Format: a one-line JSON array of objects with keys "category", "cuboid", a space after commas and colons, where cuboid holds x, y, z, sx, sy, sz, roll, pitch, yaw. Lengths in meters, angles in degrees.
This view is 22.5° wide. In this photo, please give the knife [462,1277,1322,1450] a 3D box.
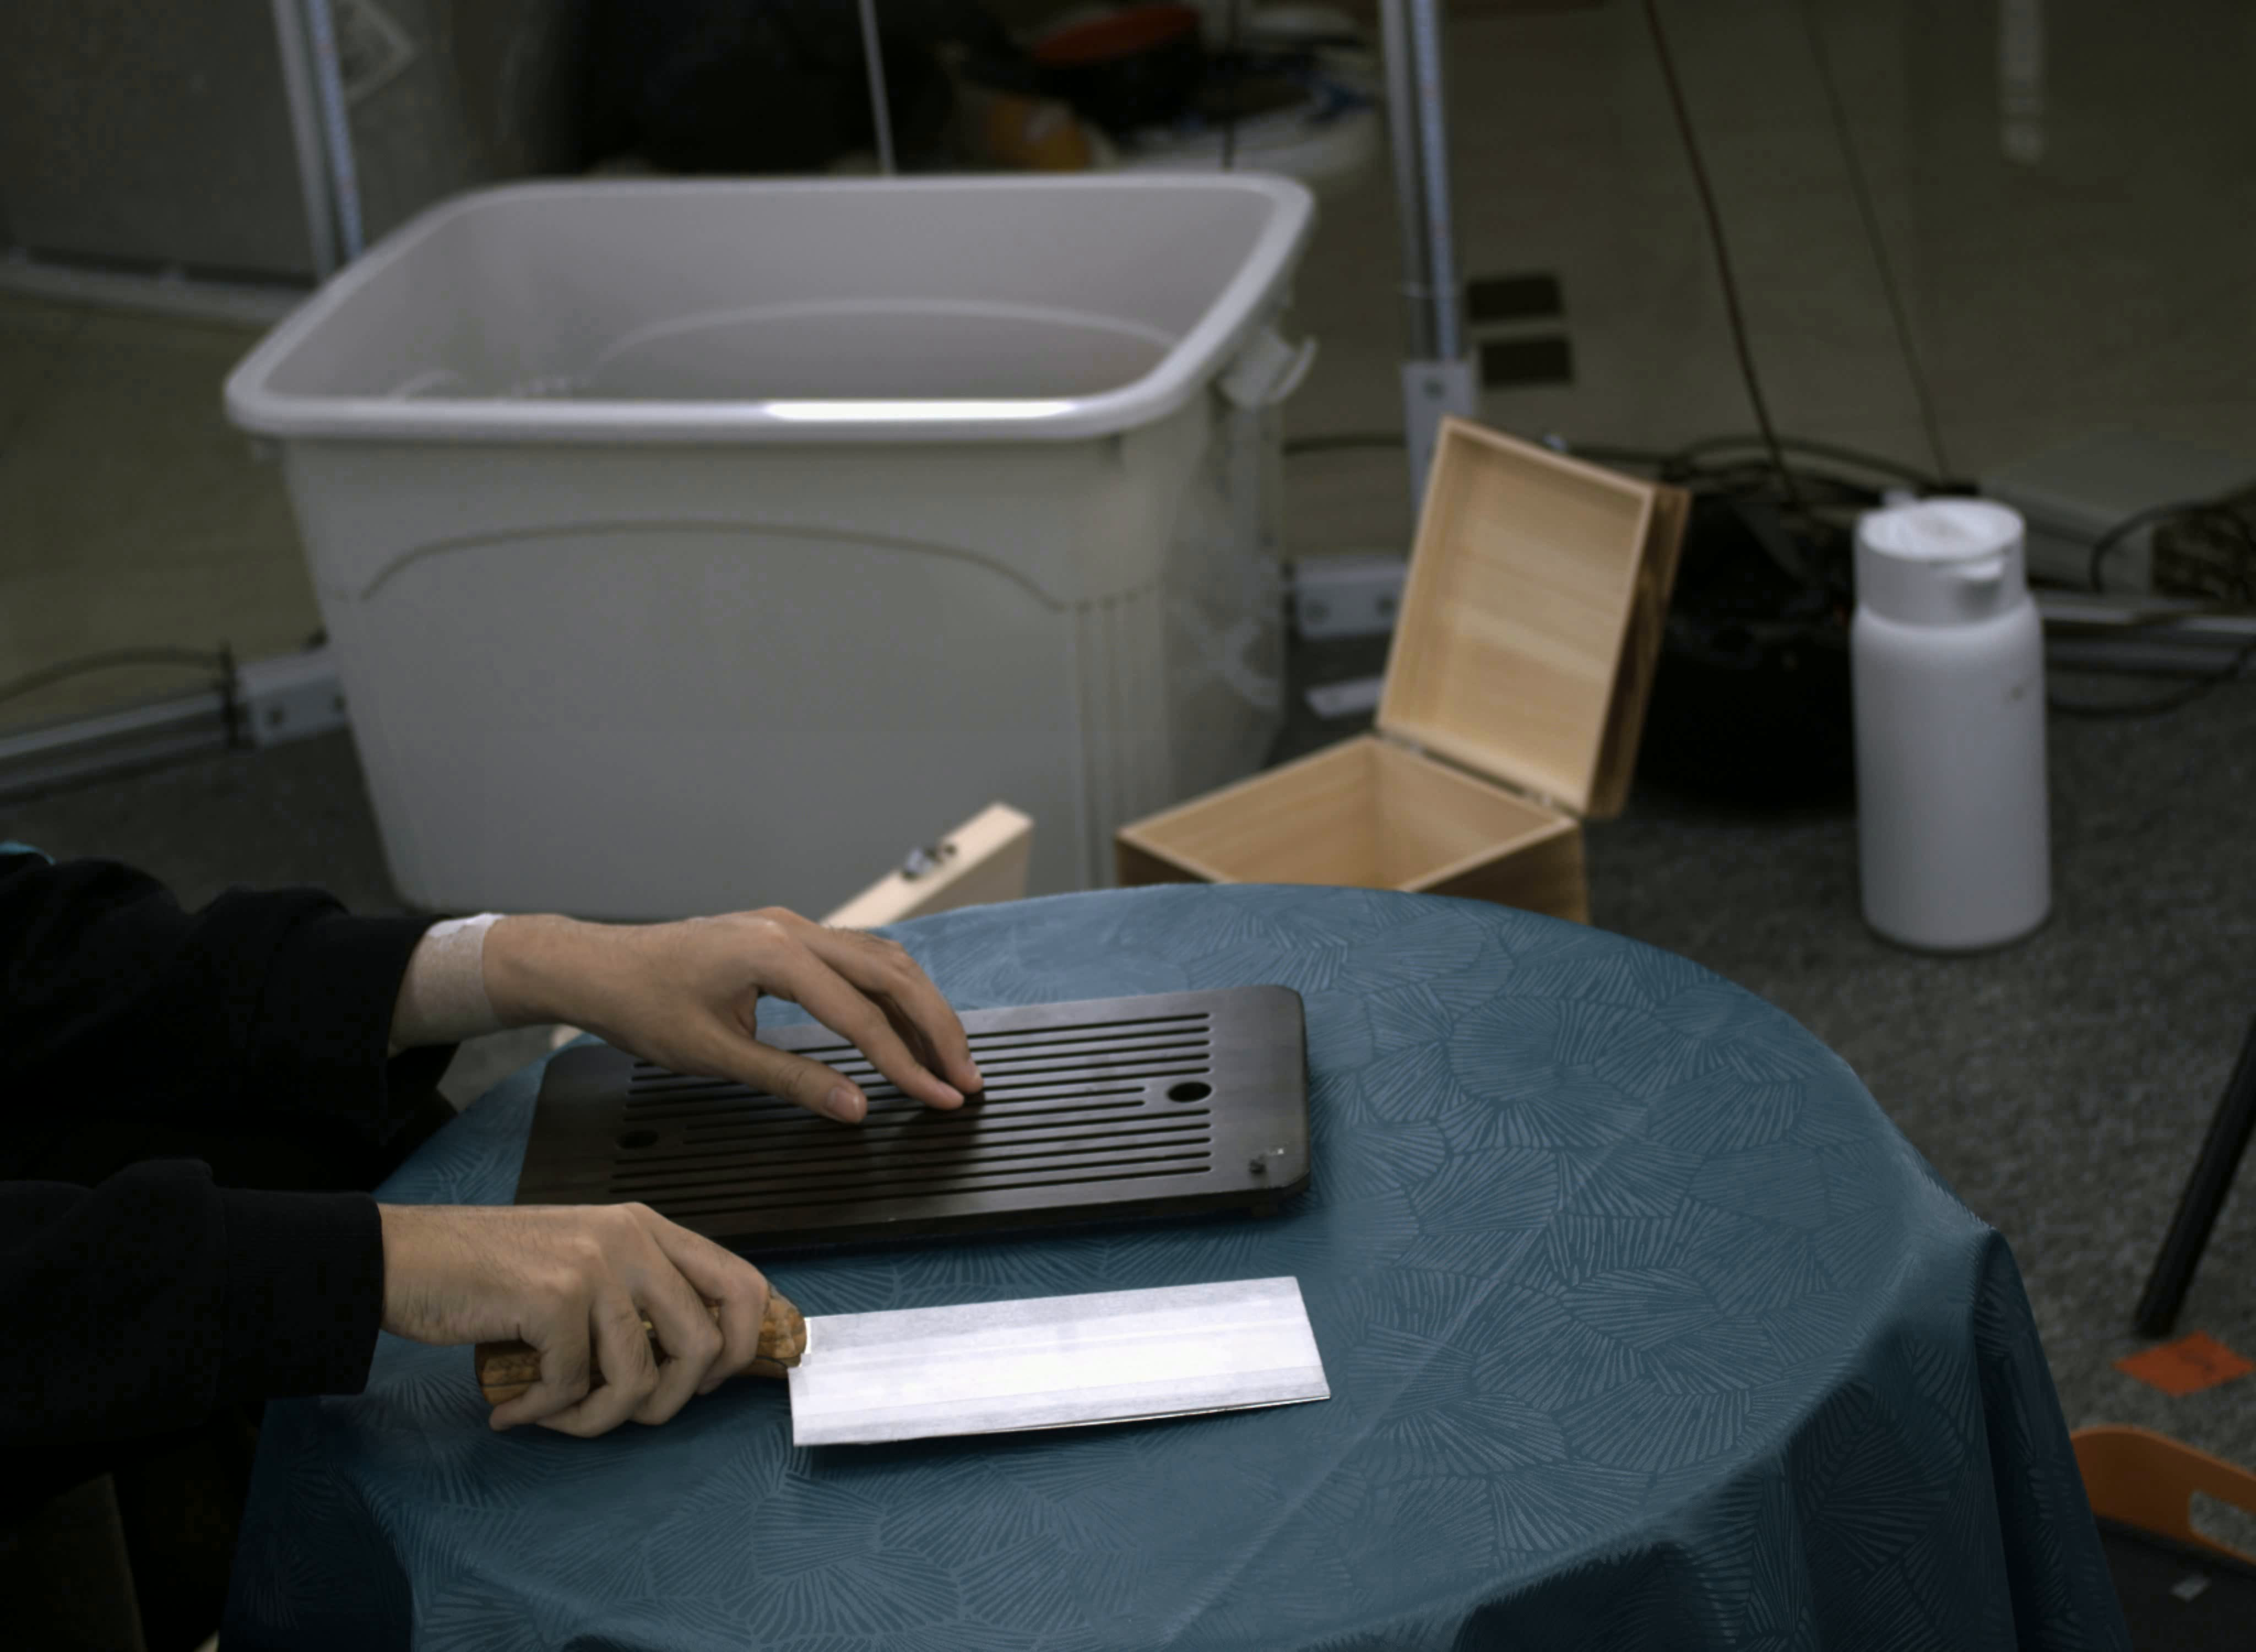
[{"category": "knife", "cuboid": [-0.084, 0.194, 2.022, 0.305, 0.021, 0.091, -4, 25, -5]}]

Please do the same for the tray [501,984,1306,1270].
[{"category": "tray", "cuboid": [-0.084, 0.117, 2.193, 0.305, 0.019, 0.167, -5, 25, 3]}]
